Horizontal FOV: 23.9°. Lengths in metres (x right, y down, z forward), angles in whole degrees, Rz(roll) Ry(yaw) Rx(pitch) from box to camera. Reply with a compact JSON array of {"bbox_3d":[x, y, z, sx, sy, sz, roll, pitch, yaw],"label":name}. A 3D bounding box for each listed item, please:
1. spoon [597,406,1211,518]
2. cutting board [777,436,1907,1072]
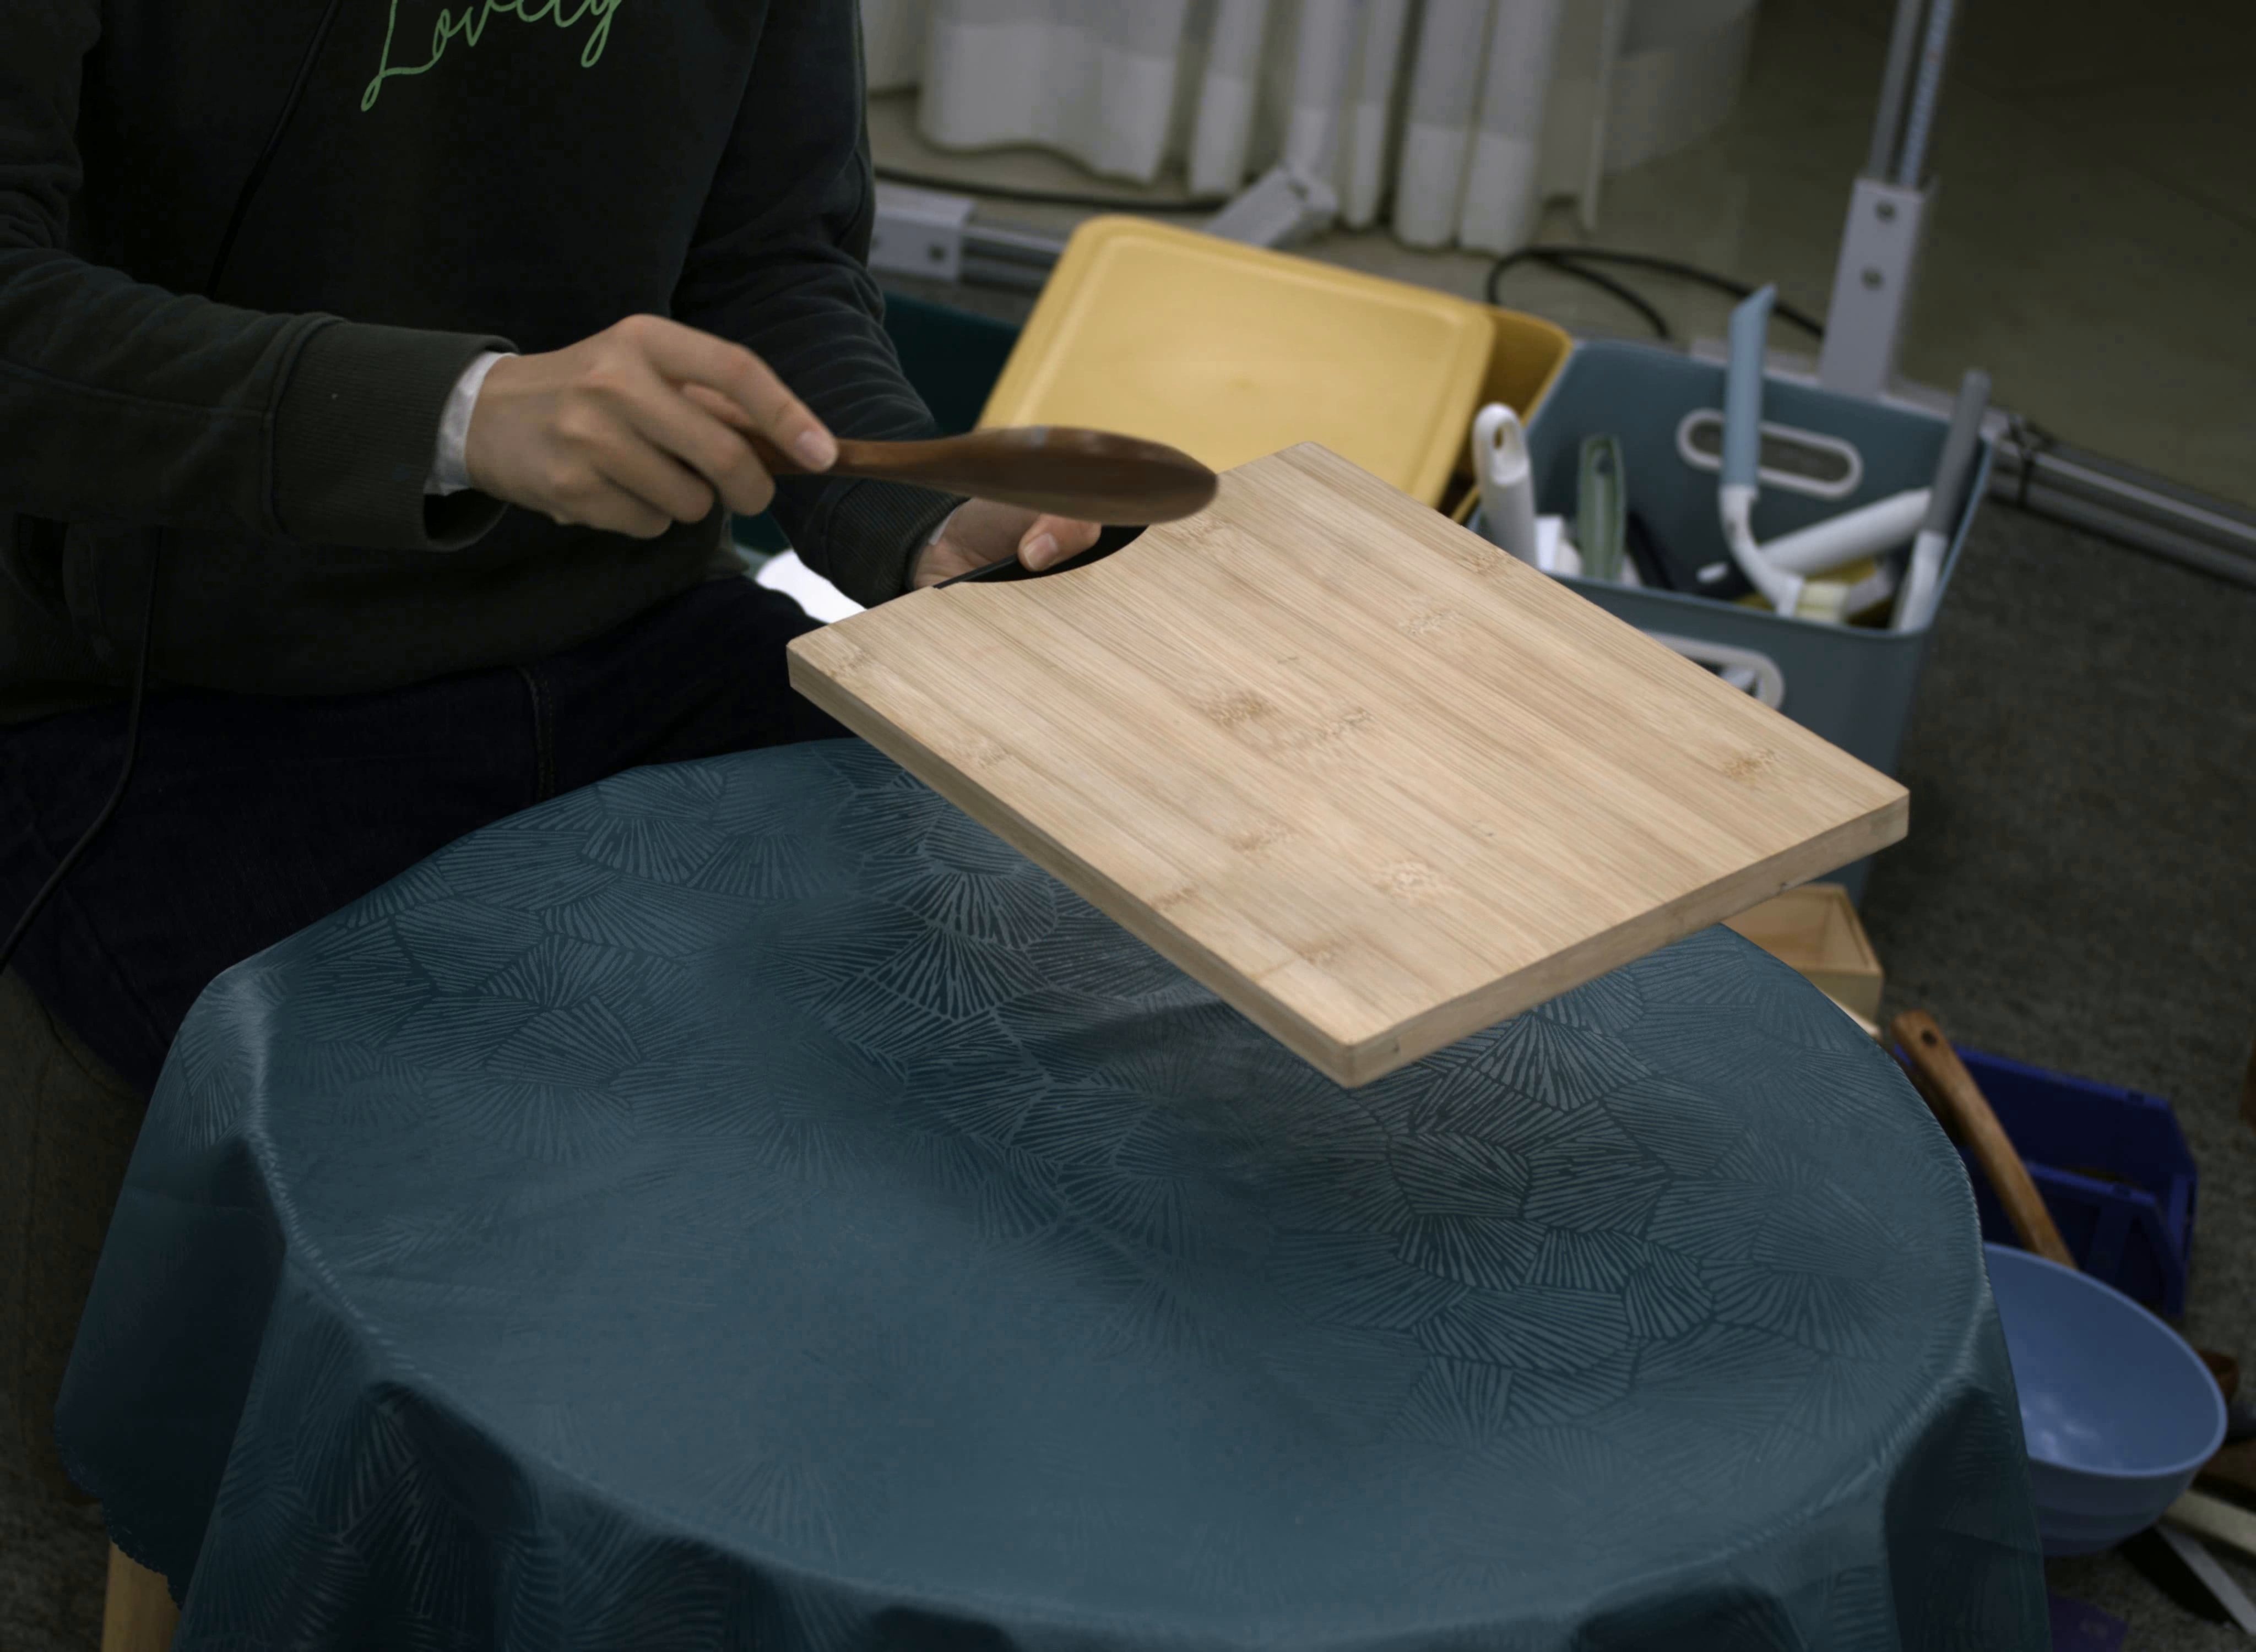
[{"bbox_3d":[-0.076,-0.119,1.737,0.216,0.017,0.075,7,-8,22],"label":"spoon"},{"bbox_3d":[0.067,-0.034,1.863,0.249,0.023,0.351,-22,35,-28],"label":"cutting board"}]
